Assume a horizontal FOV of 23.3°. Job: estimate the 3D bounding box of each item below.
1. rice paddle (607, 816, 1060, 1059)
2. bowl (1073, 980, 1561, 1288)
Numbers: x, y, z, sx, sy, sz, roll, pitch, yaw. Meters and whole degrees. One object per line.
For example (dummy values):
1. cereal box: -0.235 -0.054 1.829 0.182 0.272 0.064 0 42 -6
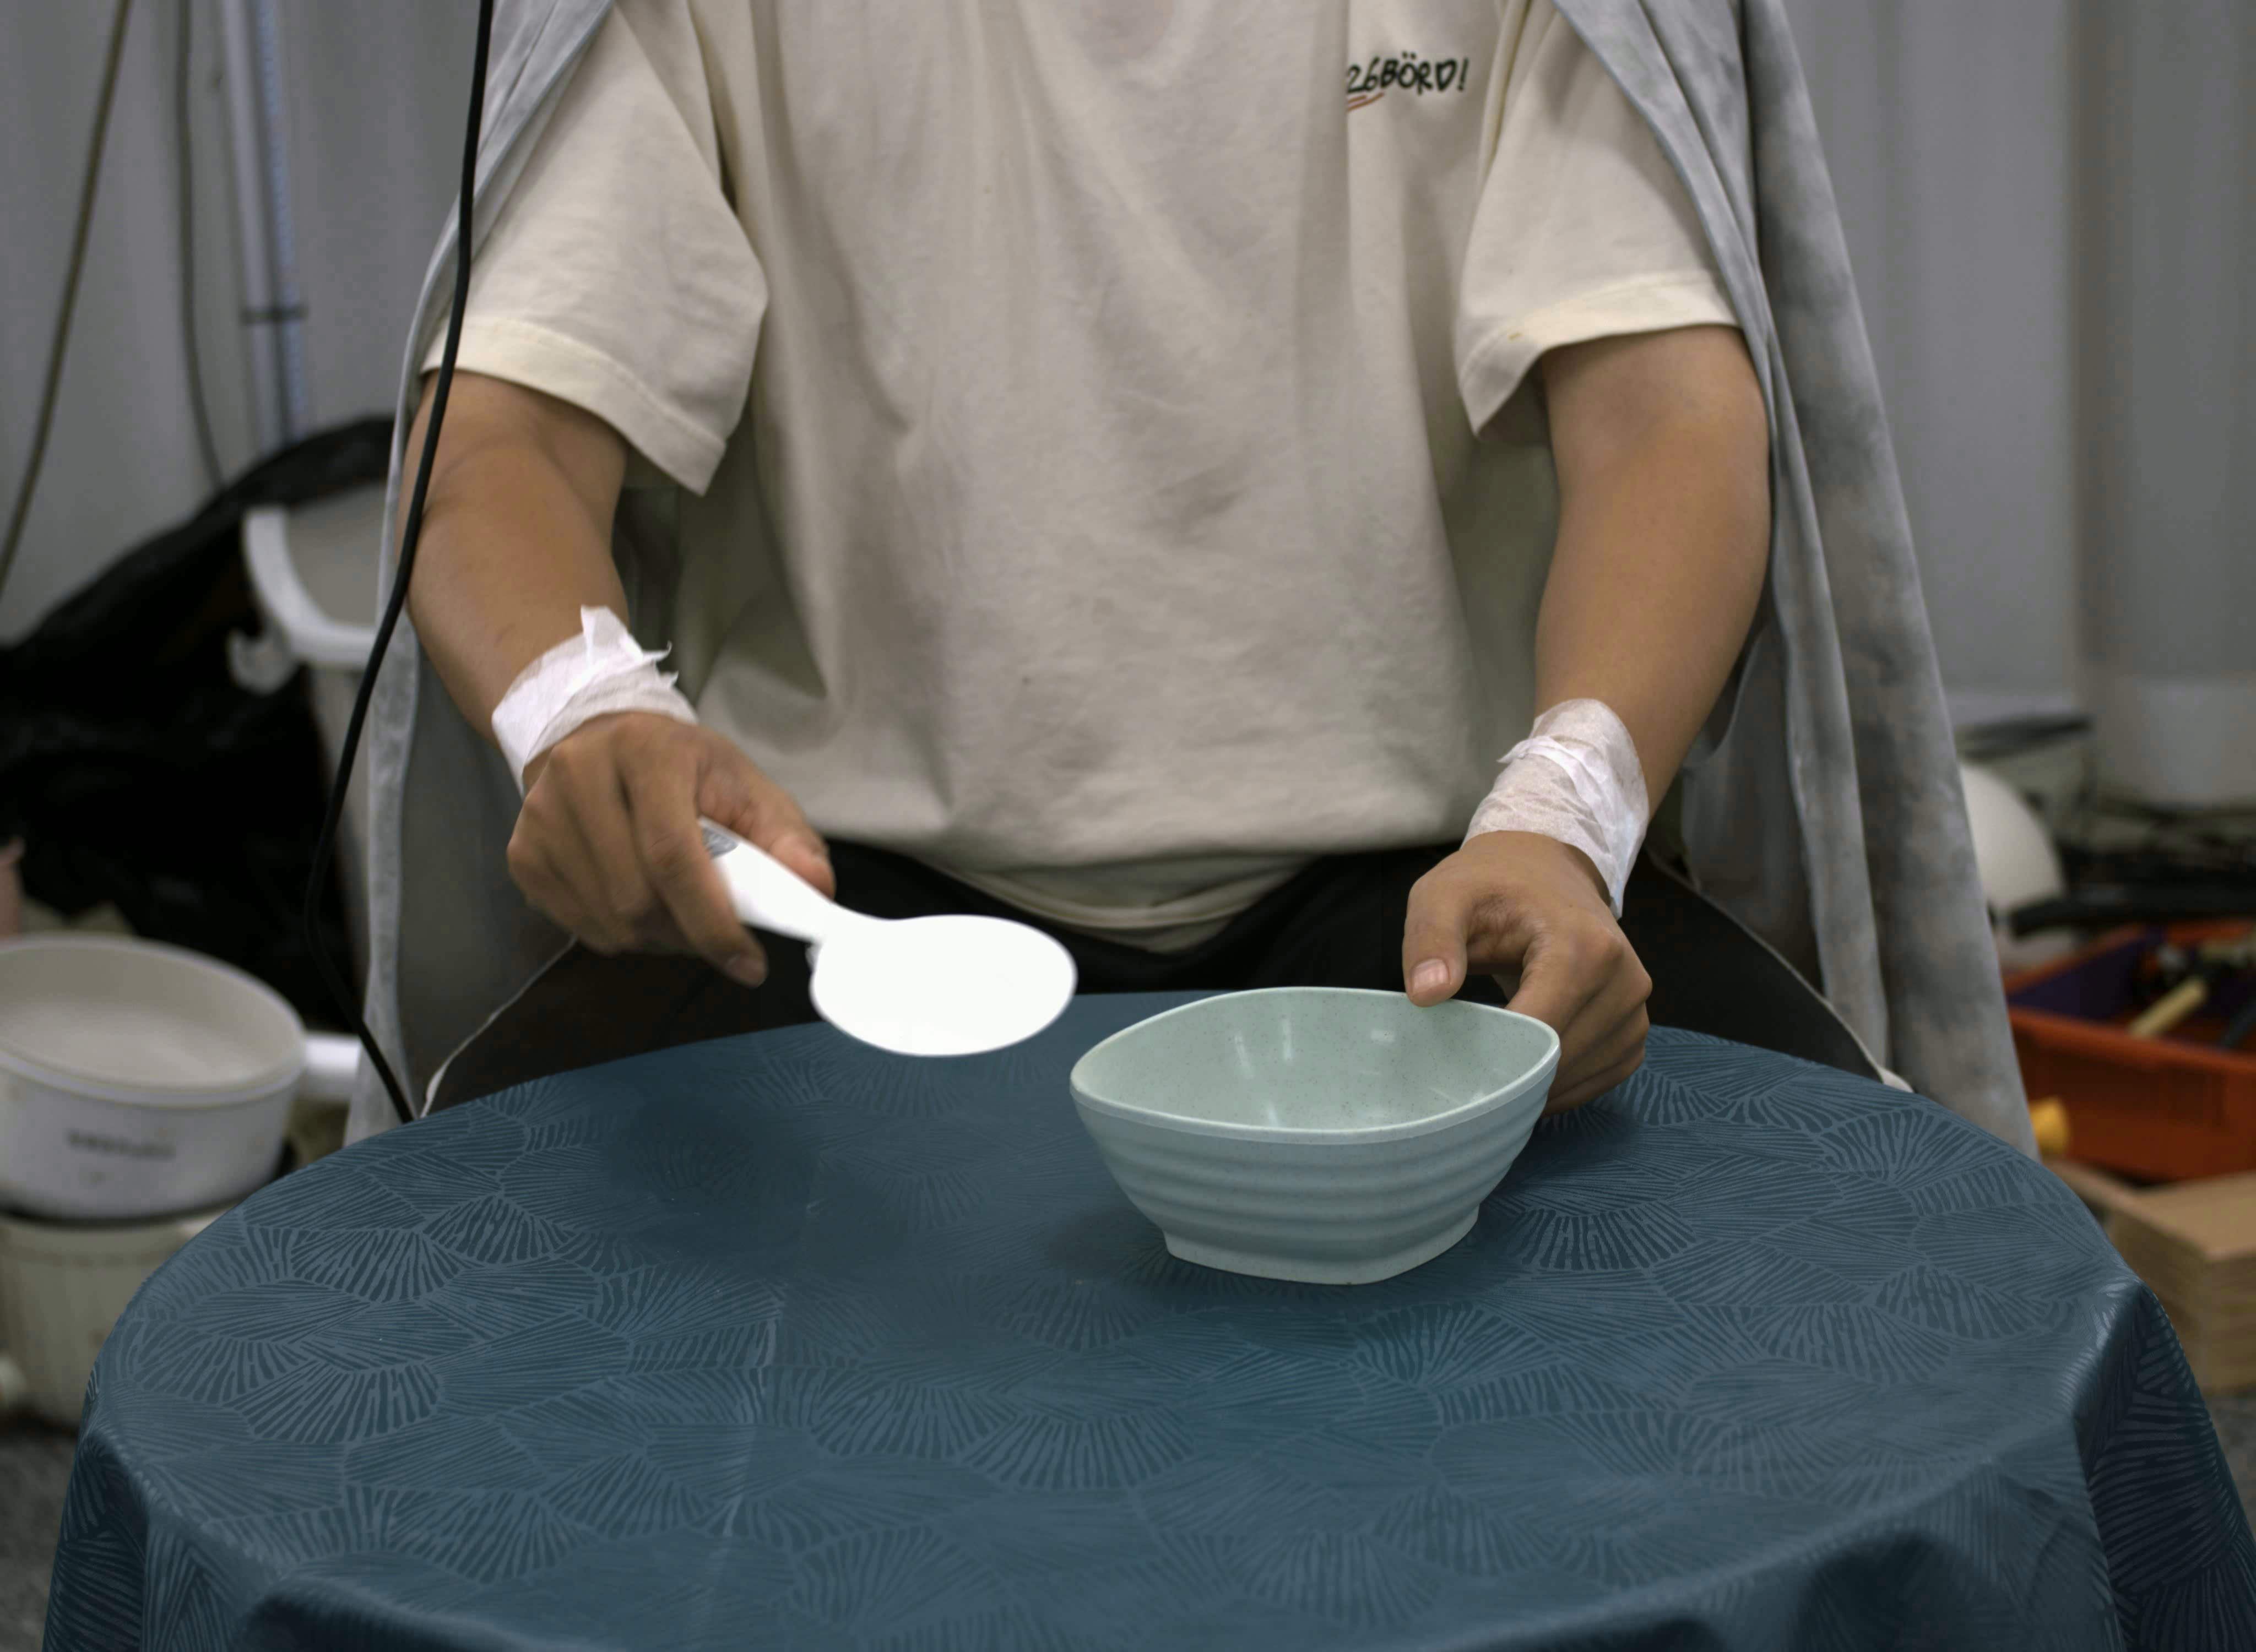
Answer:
1. rice paddle: -0.092 0.034 1.655 0.069 0.029 0.207 -29 29 -27
2. bowl: 0.059 0.097 1.663 0.151 0.058 0.152 -4 17 1
